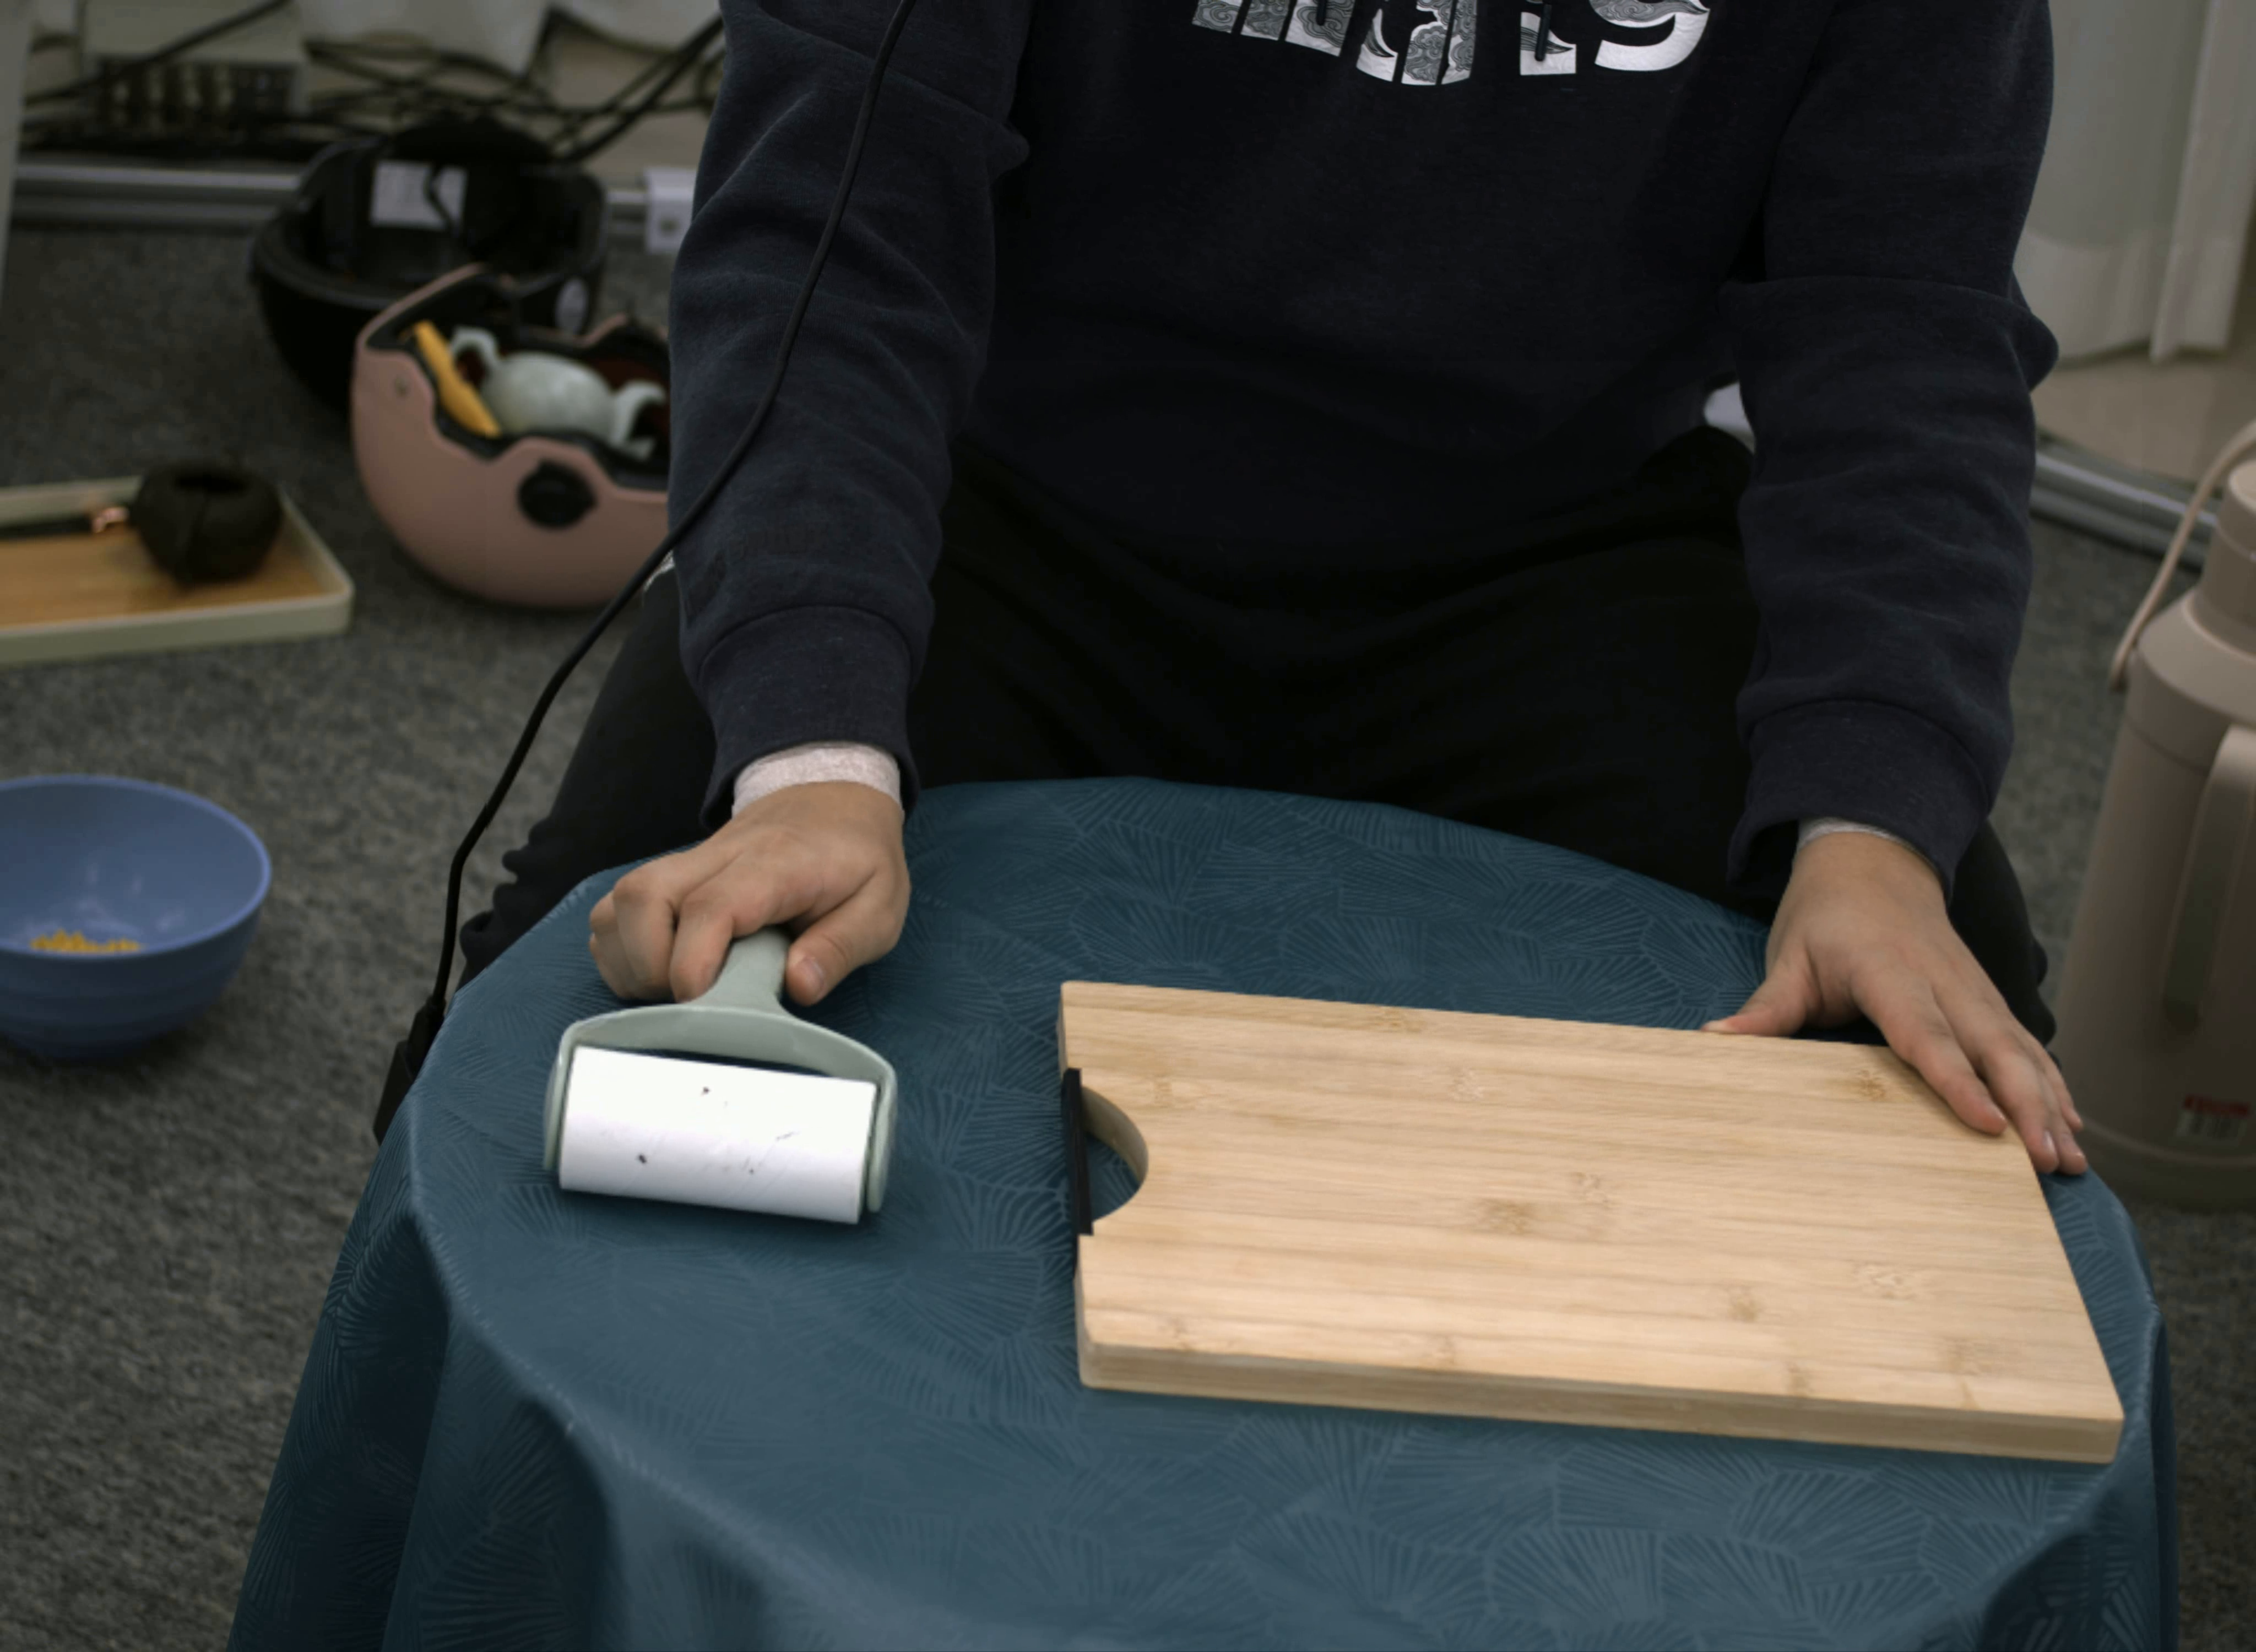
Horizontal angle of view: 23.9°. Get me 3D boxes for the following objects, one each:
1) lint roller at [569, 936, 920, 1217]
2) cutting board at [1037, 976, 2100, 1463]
[{"bbox_3d":[-0.126,0.073,1.829,0.116,0.048,0.198,4,24,0],"label":"lint roller"},{"bbox_3d":[0.143,0.131,1.809,0.347,0.023,0.252,4,26,-5],"label":"cutting board"}]
